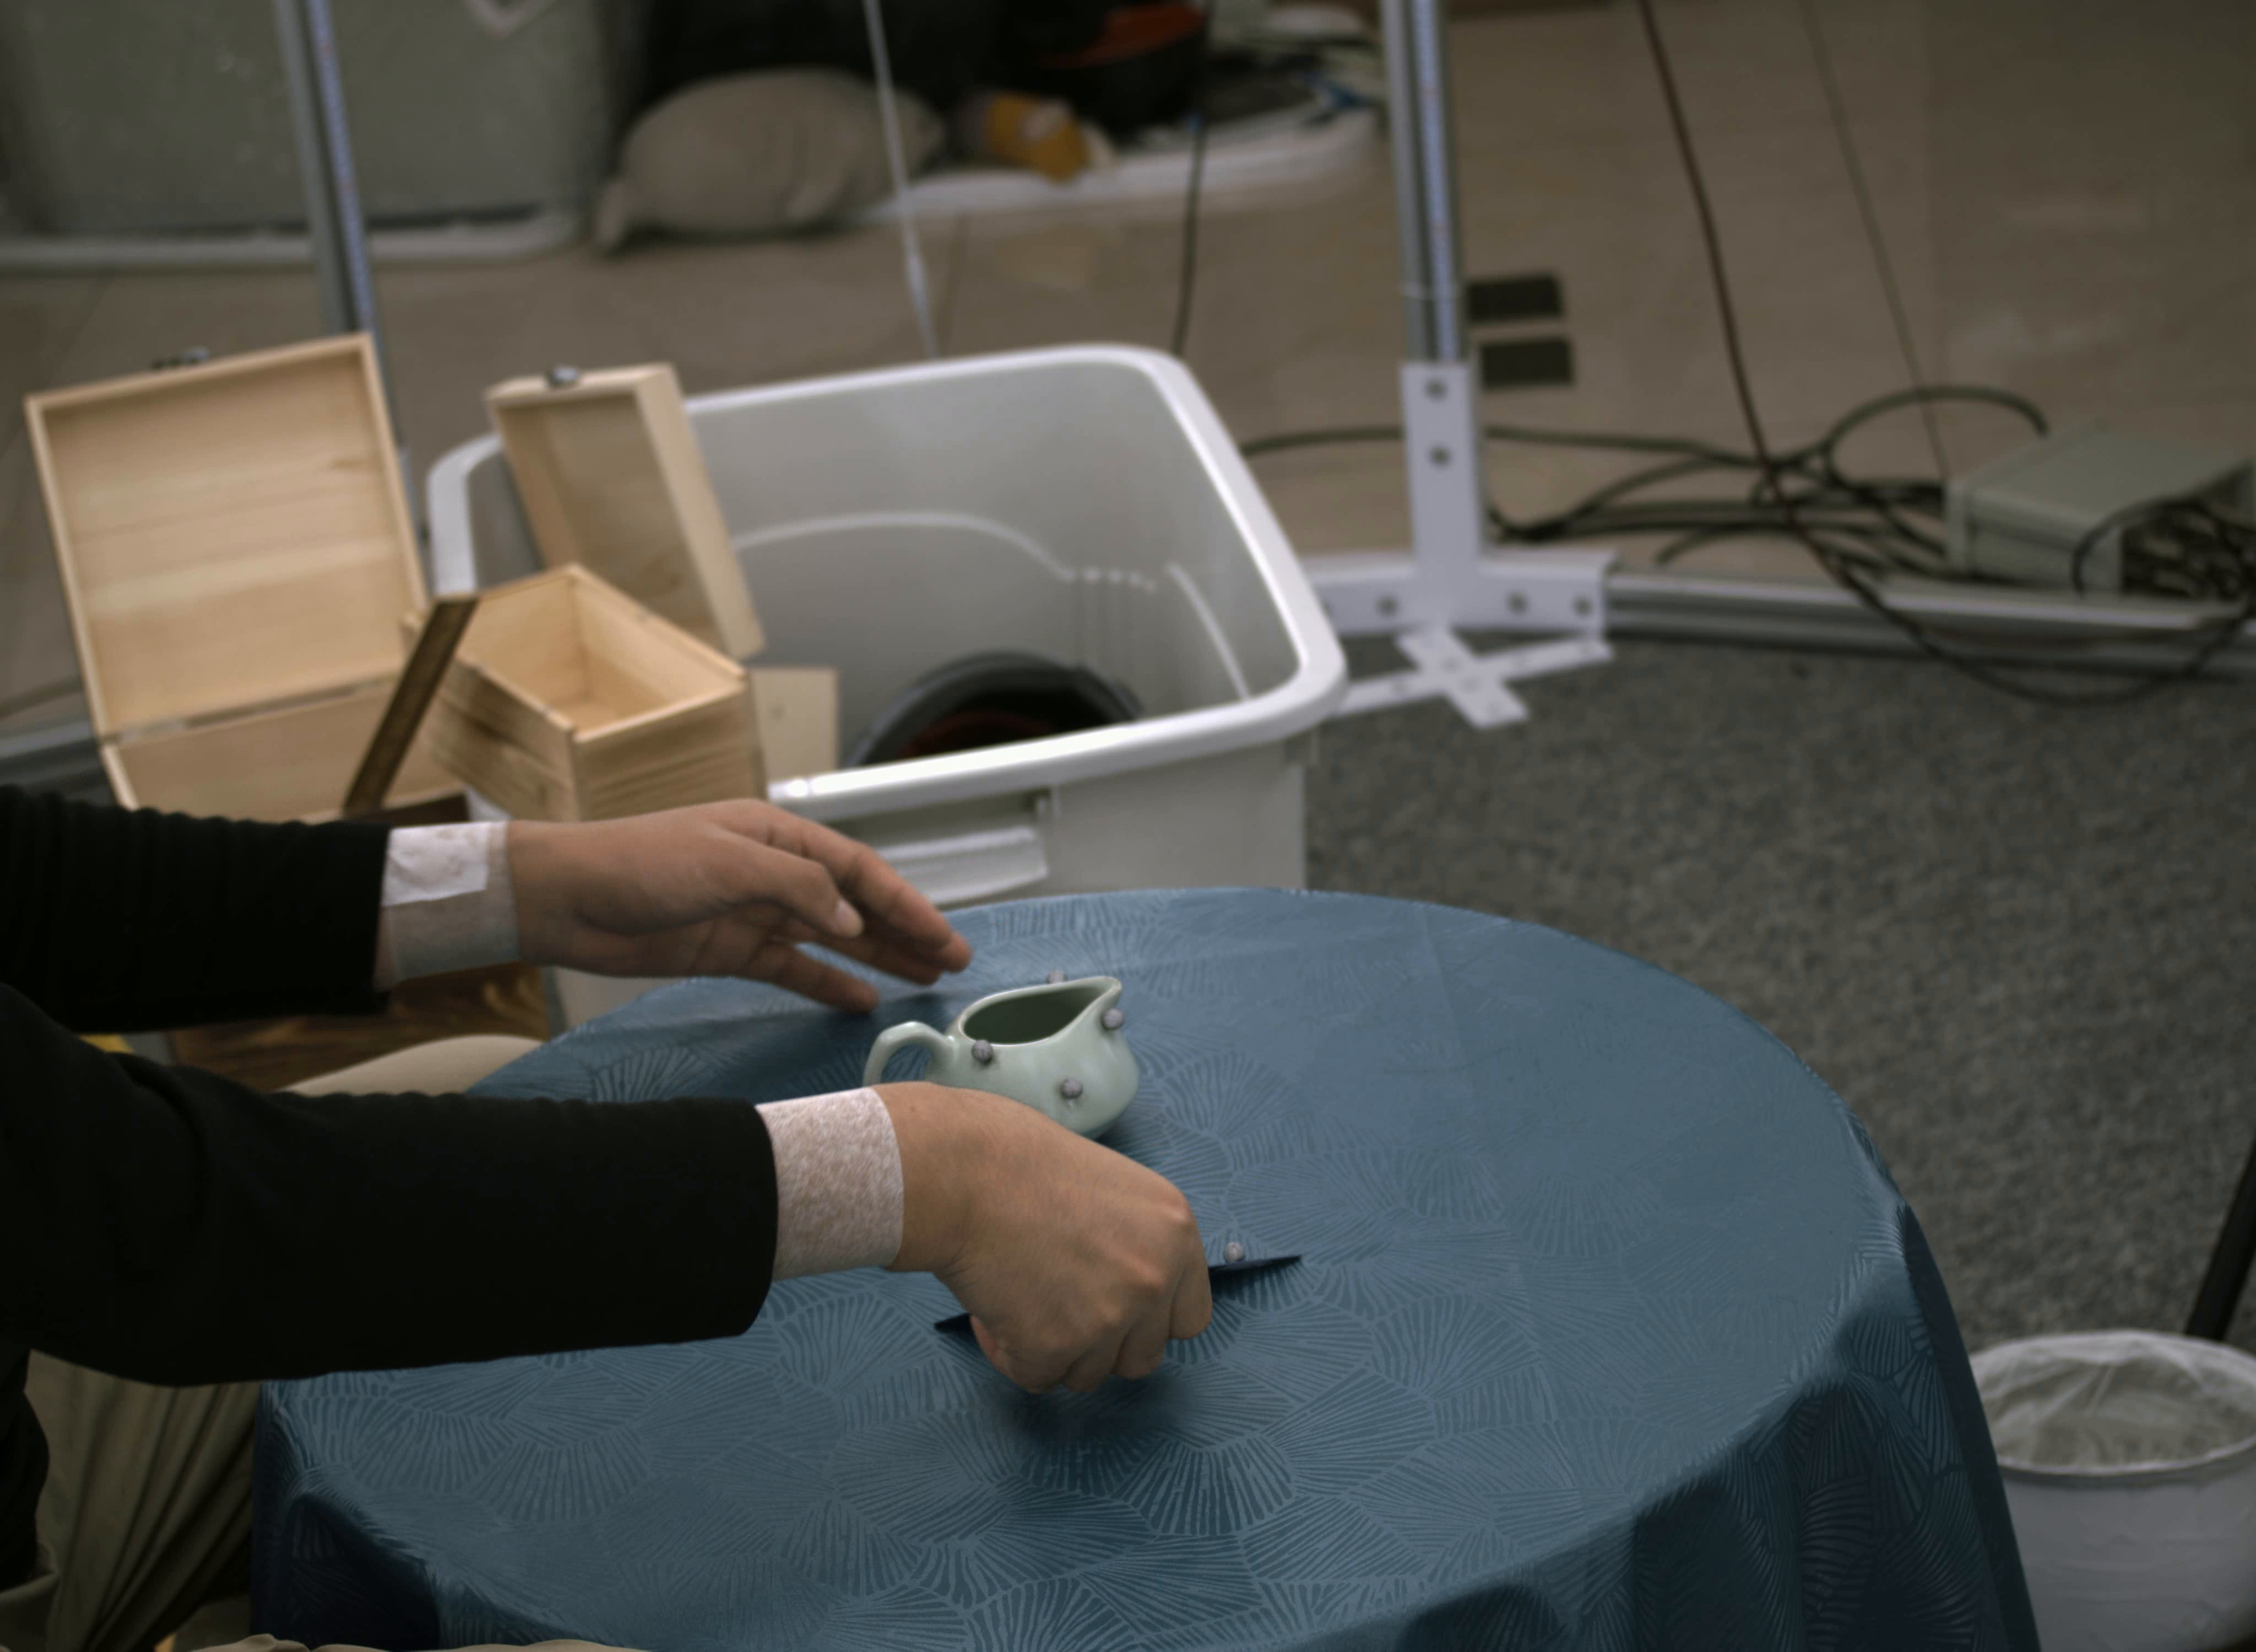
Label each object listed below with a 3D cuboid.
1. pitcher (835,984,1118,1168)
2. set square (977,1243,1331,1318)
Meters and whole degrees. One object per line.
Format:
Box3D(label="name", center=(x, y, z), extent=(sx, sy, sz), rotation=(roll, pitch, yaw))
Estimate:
Box3D(label="pitcher", center=(-0.061, 0.092, 2.181), extent=(0.108, 0.061, 0.084), rotation=(8, 34, -9))
Box3D(label="set square", center=(0.010, 0.162, 2.047), extent=(0.132, 0.006, 0.061), rotation=(-10, -8, -4))
